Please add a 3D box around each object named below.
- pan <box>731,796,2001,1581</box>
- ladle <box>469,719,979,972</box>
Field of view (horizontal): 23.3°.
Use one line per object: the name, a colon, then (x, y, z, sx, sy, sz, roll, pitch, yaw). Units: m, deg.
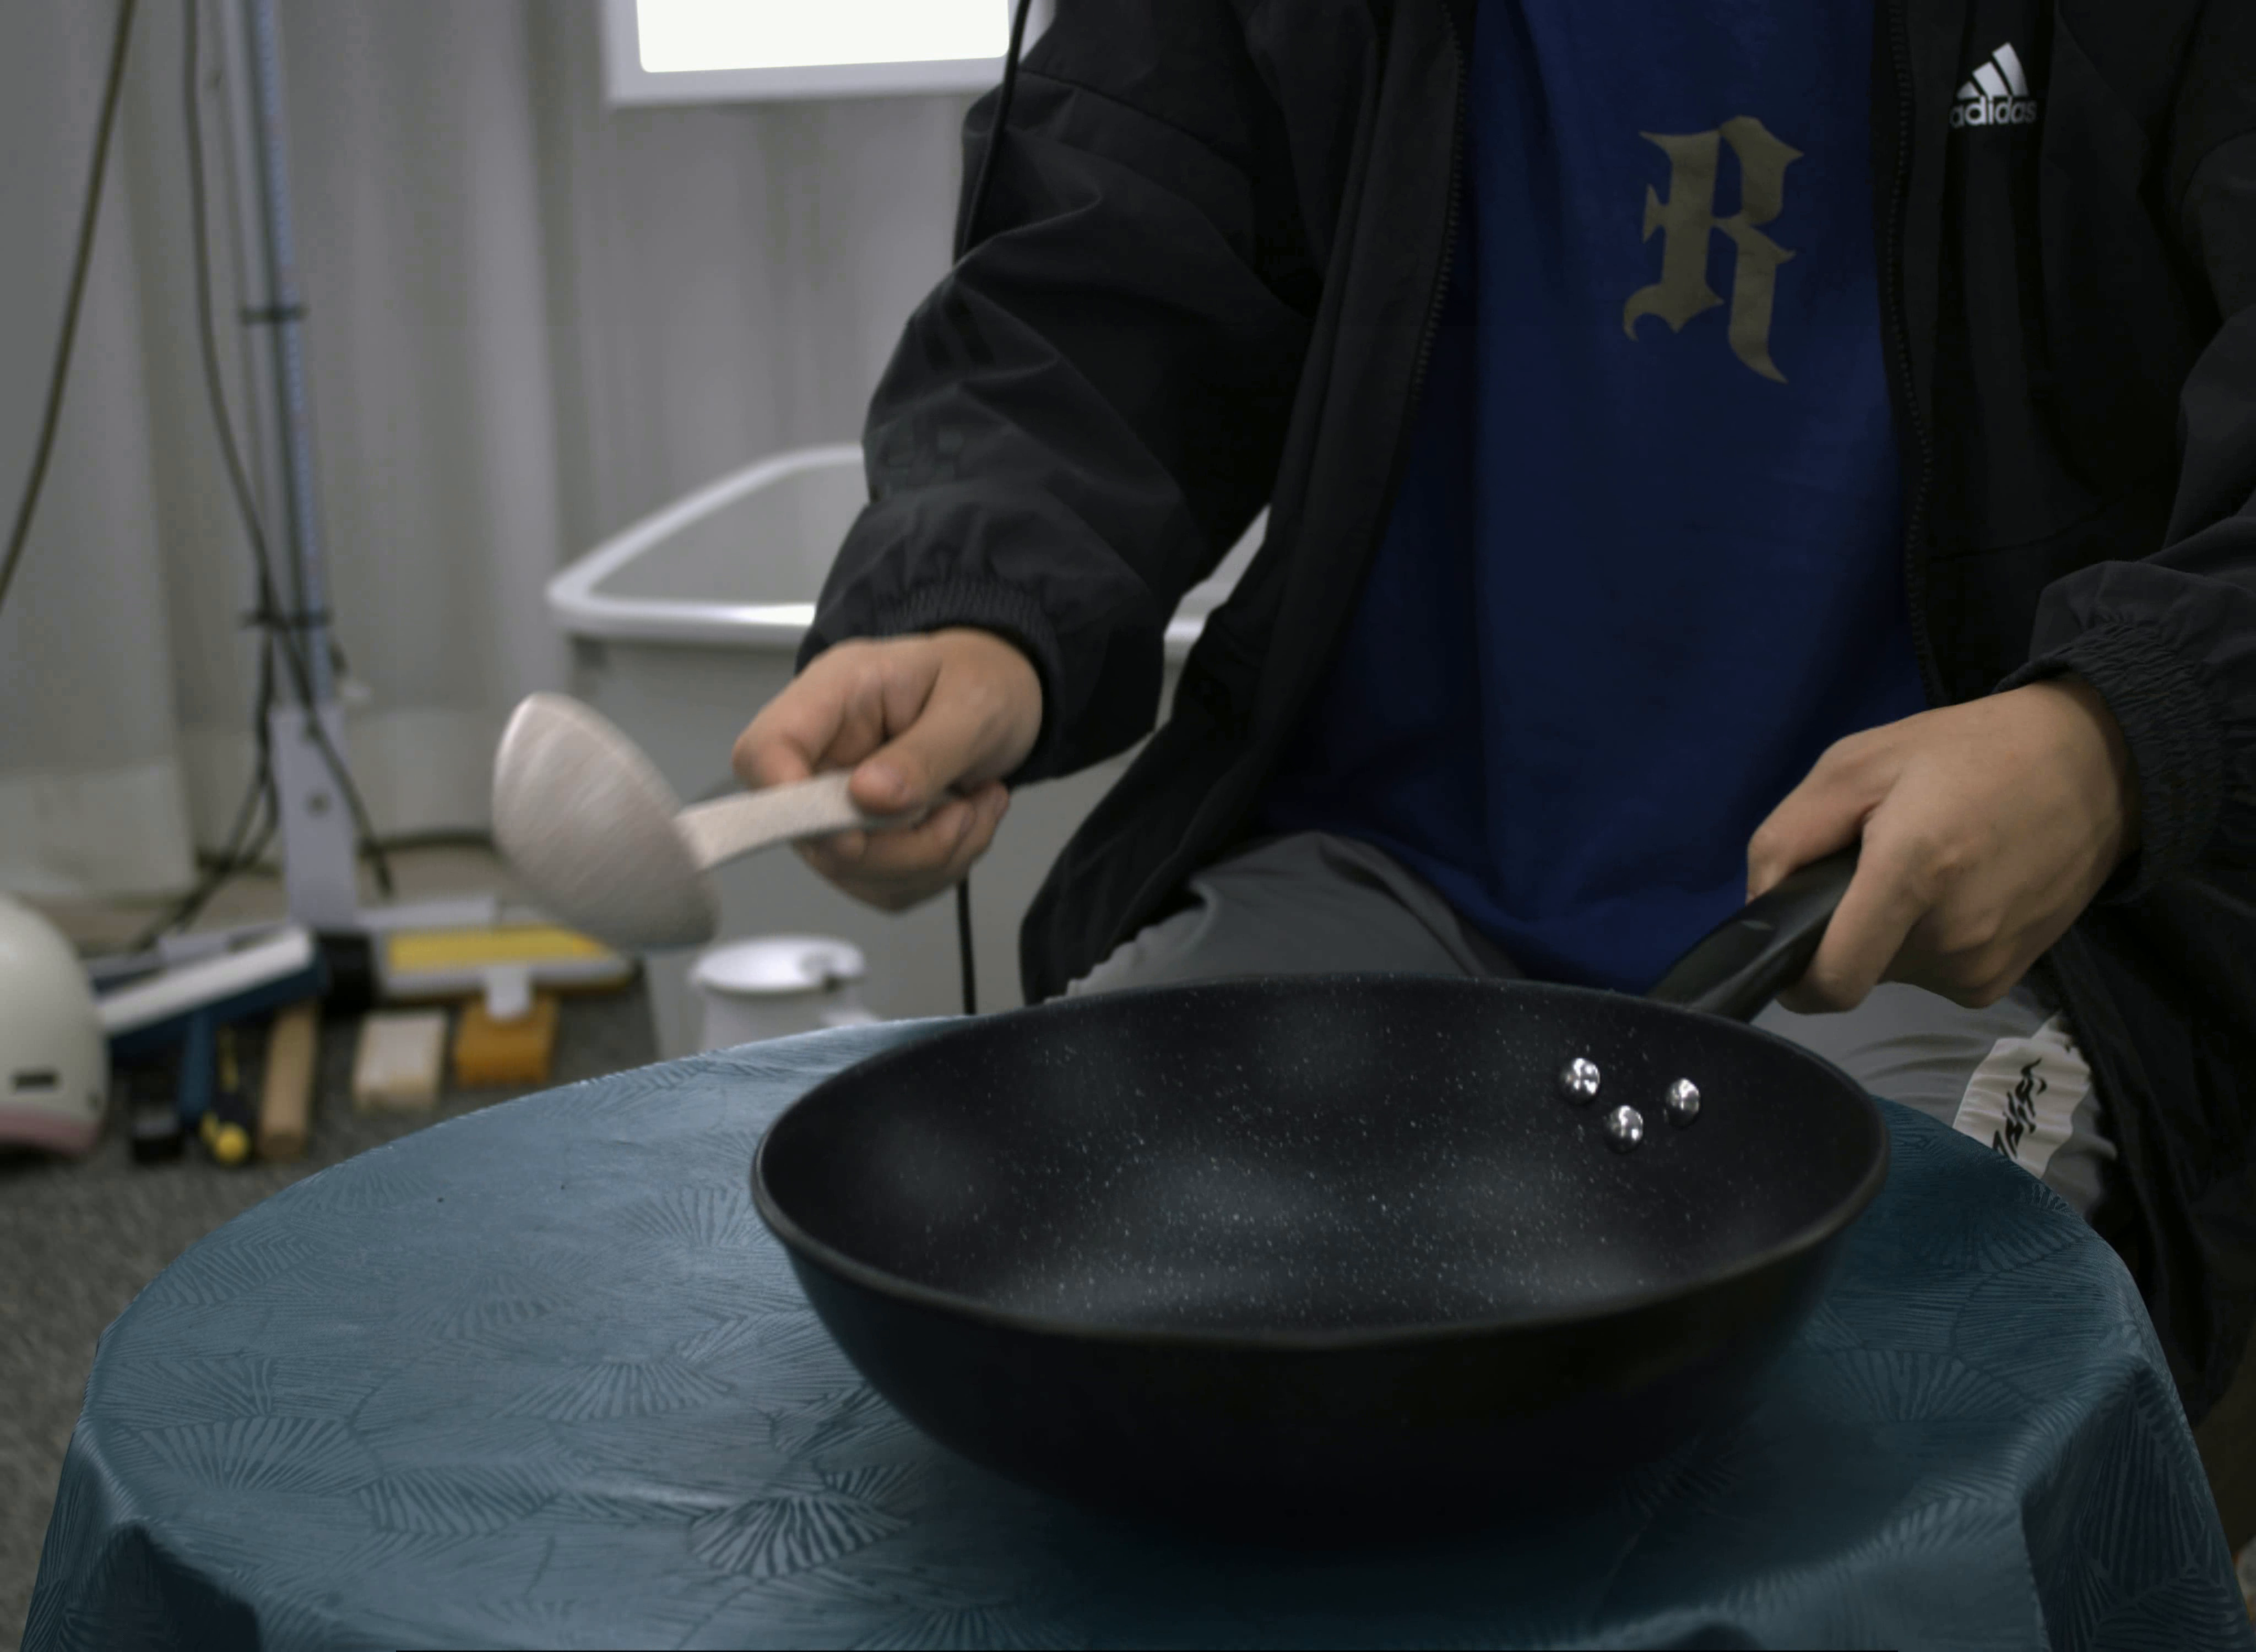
pan: (0.104, 0.099, 1.533, 0.312, 0.111, 0.476, 12, 22, 40)
ladle: (-0.103, -0.008, 1.668, 0.090, 0.069, 0.274, 38, 23, 19)
